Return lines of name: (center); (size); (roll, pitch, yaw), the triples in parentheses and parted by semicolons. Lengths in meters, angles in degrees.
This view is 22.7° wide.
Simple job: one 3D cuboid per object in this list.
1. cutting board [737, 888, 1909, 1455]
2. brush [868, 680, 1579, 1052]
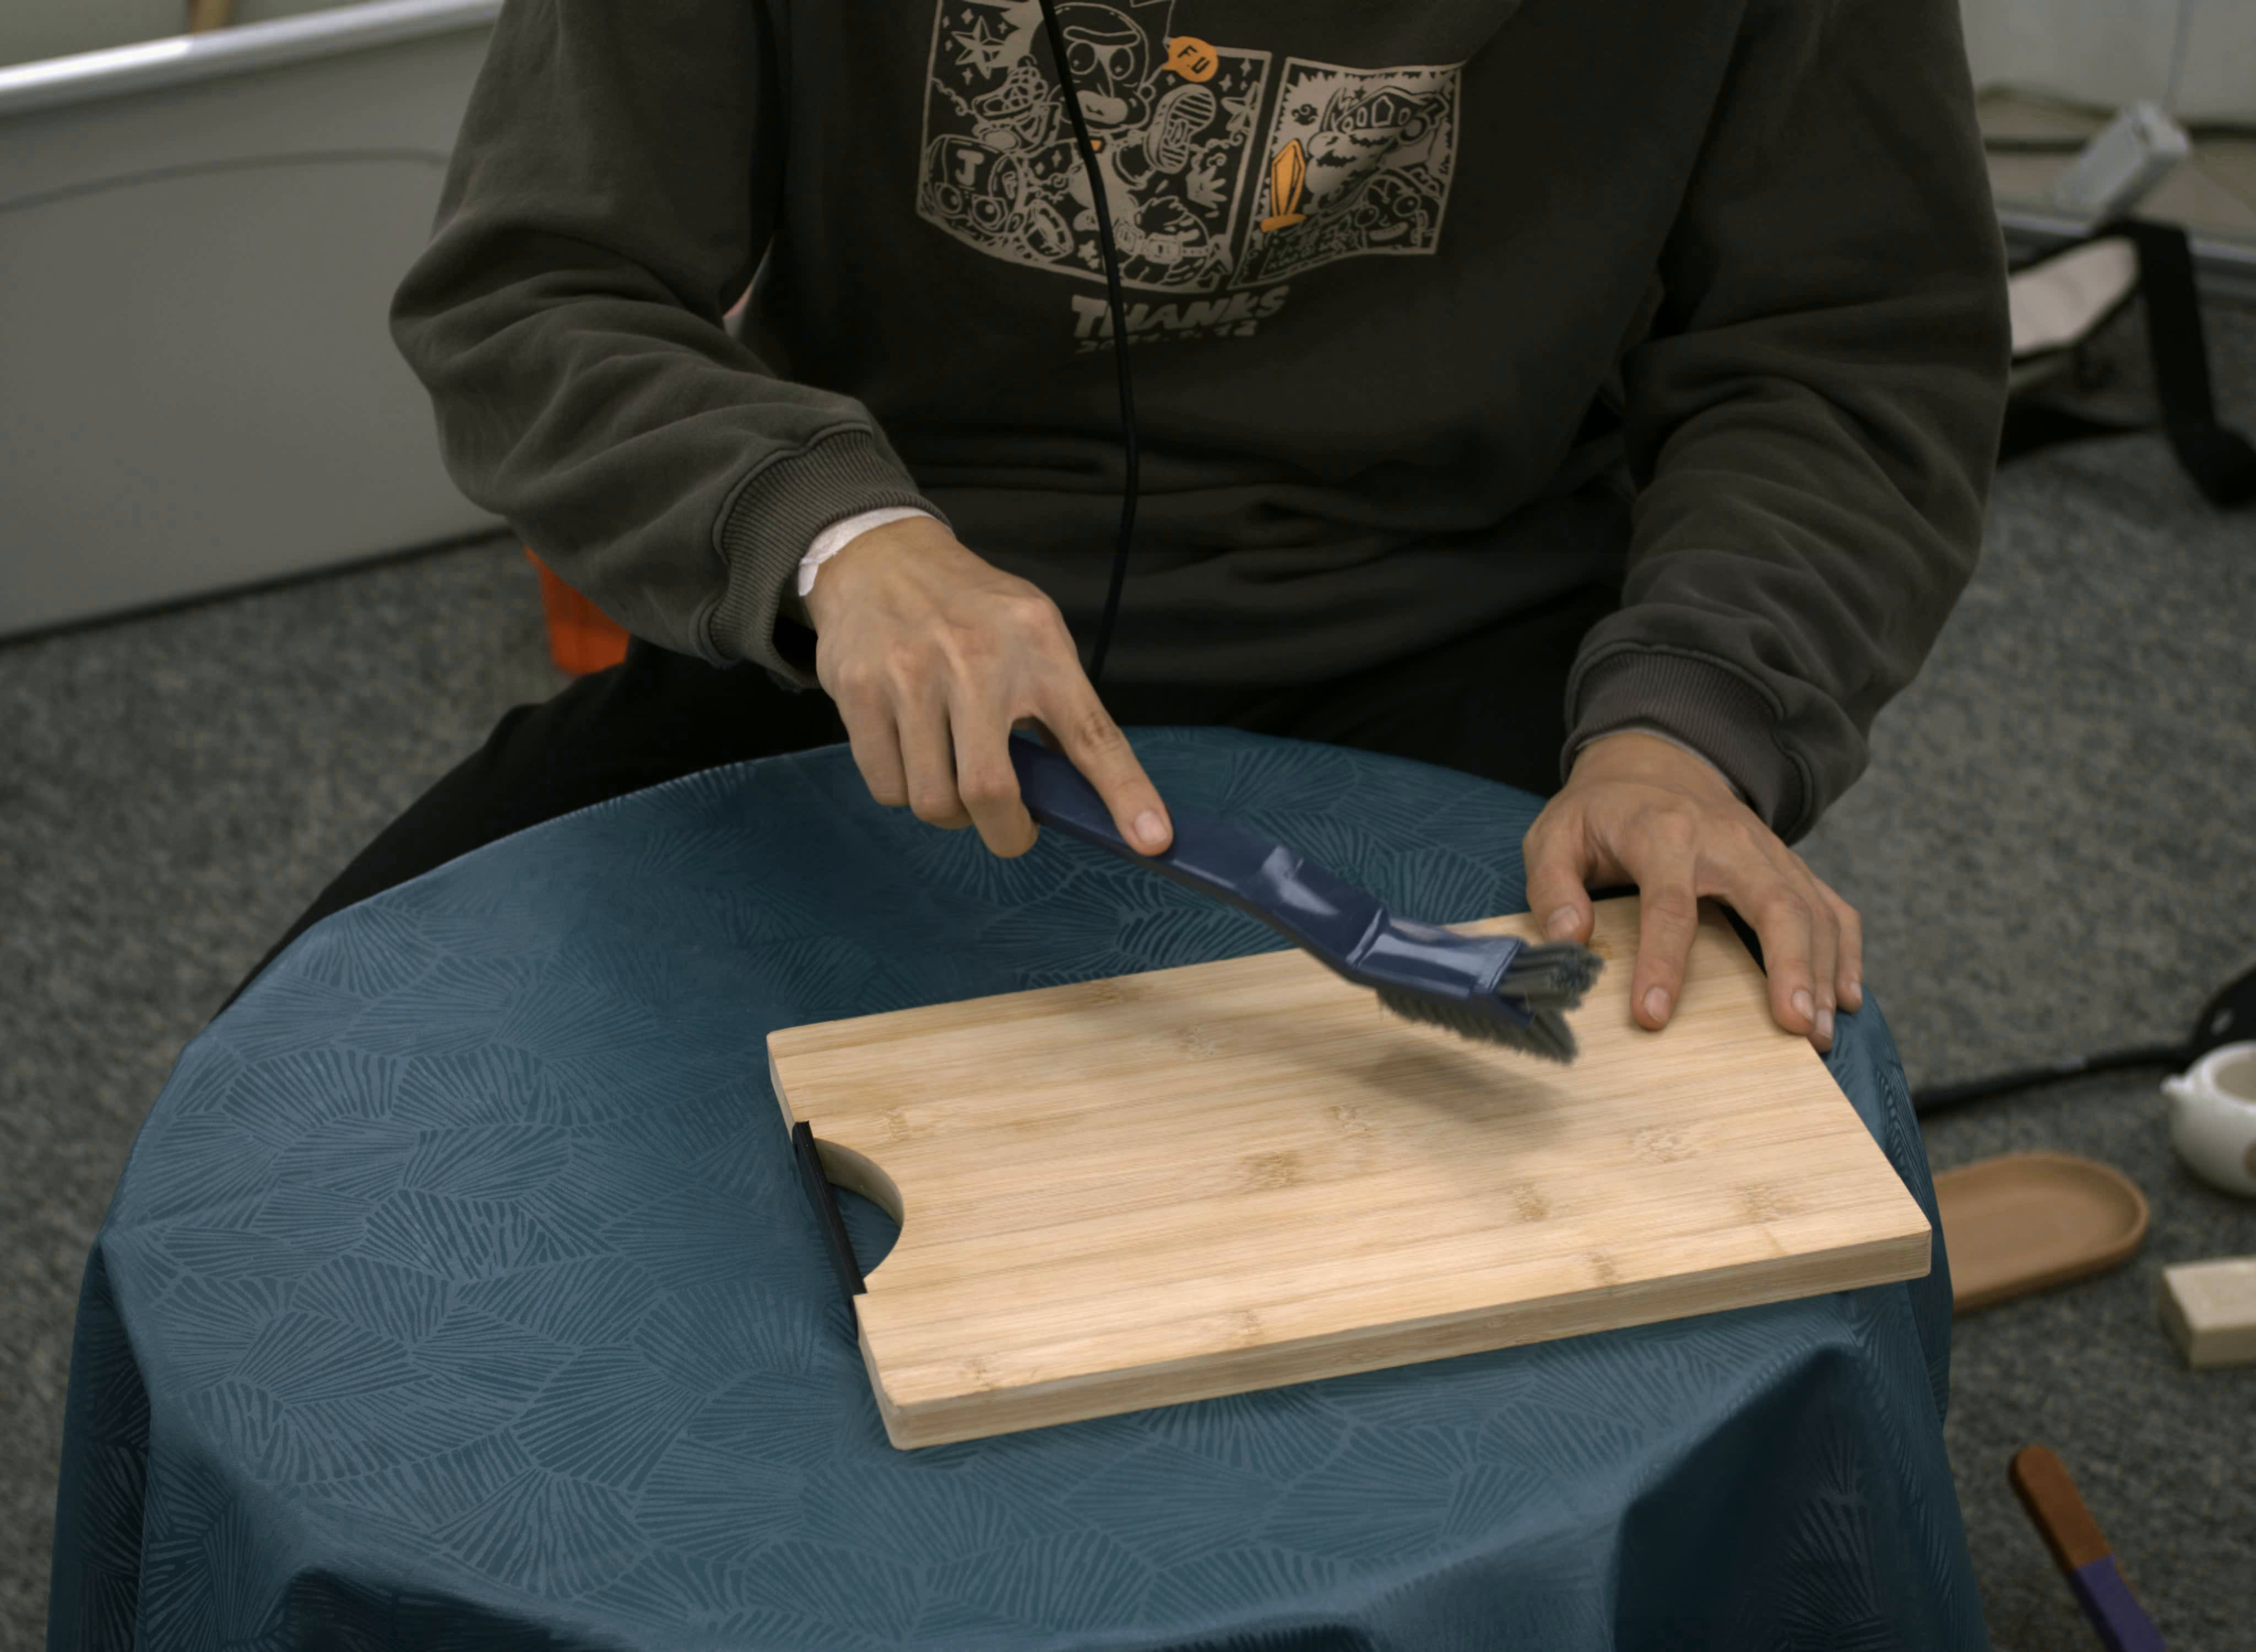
cutting board: (0.060, 0.109, 1.861); (0.348, 0.023, 0.253); (-9, 28, -11)
brush: (0.030, 0.006, 1.877); (0.273, 0.094, 0.034); (26, 70, 18)
